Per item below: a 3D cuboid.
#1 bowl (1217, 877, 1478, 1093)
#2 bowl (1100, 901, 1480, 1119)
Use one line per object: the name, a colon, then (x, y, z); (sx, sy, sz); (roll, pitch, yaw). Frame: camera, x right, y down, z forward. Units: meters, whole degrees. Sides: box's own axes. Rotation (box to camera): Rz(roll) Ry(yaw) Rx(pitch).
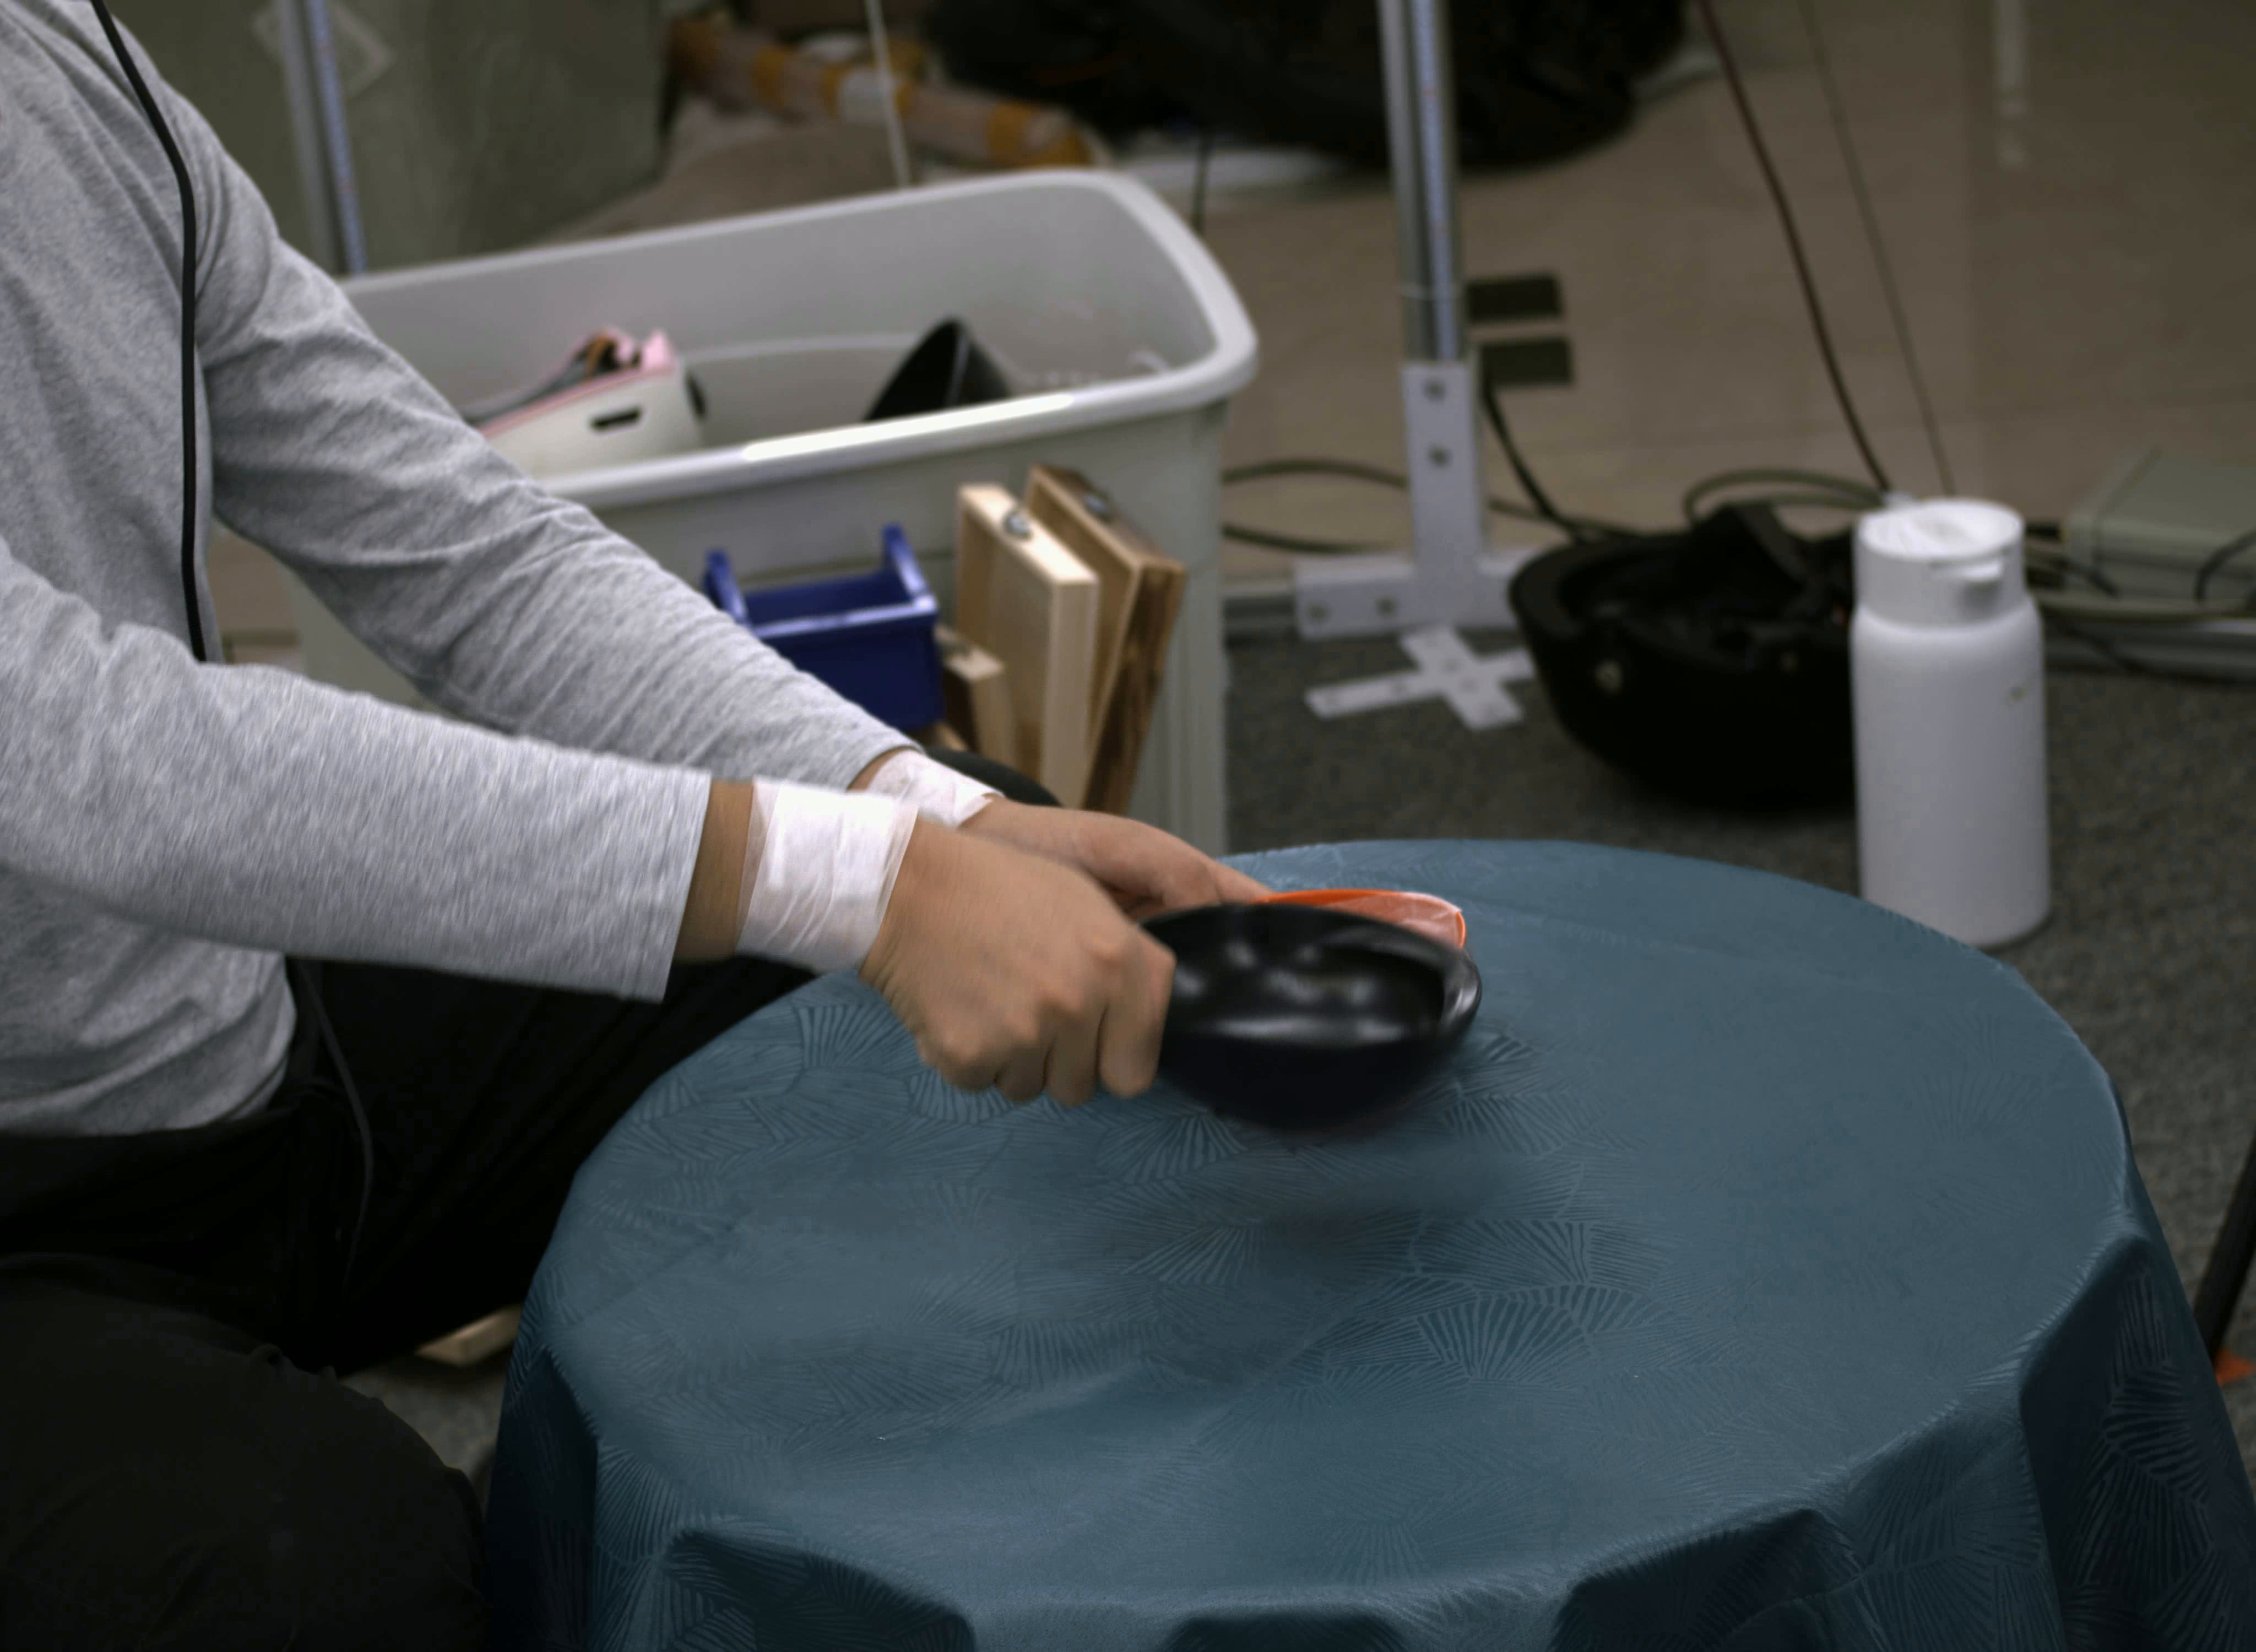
bowl: (0.081, 0.067, 2.220); (0.119, 0.052, 0.117); (-3, 27, 1)
bowl: (0.058, 0.072, 2.070); (0.140, 0.050, 0.138); (3, 18, -1)
